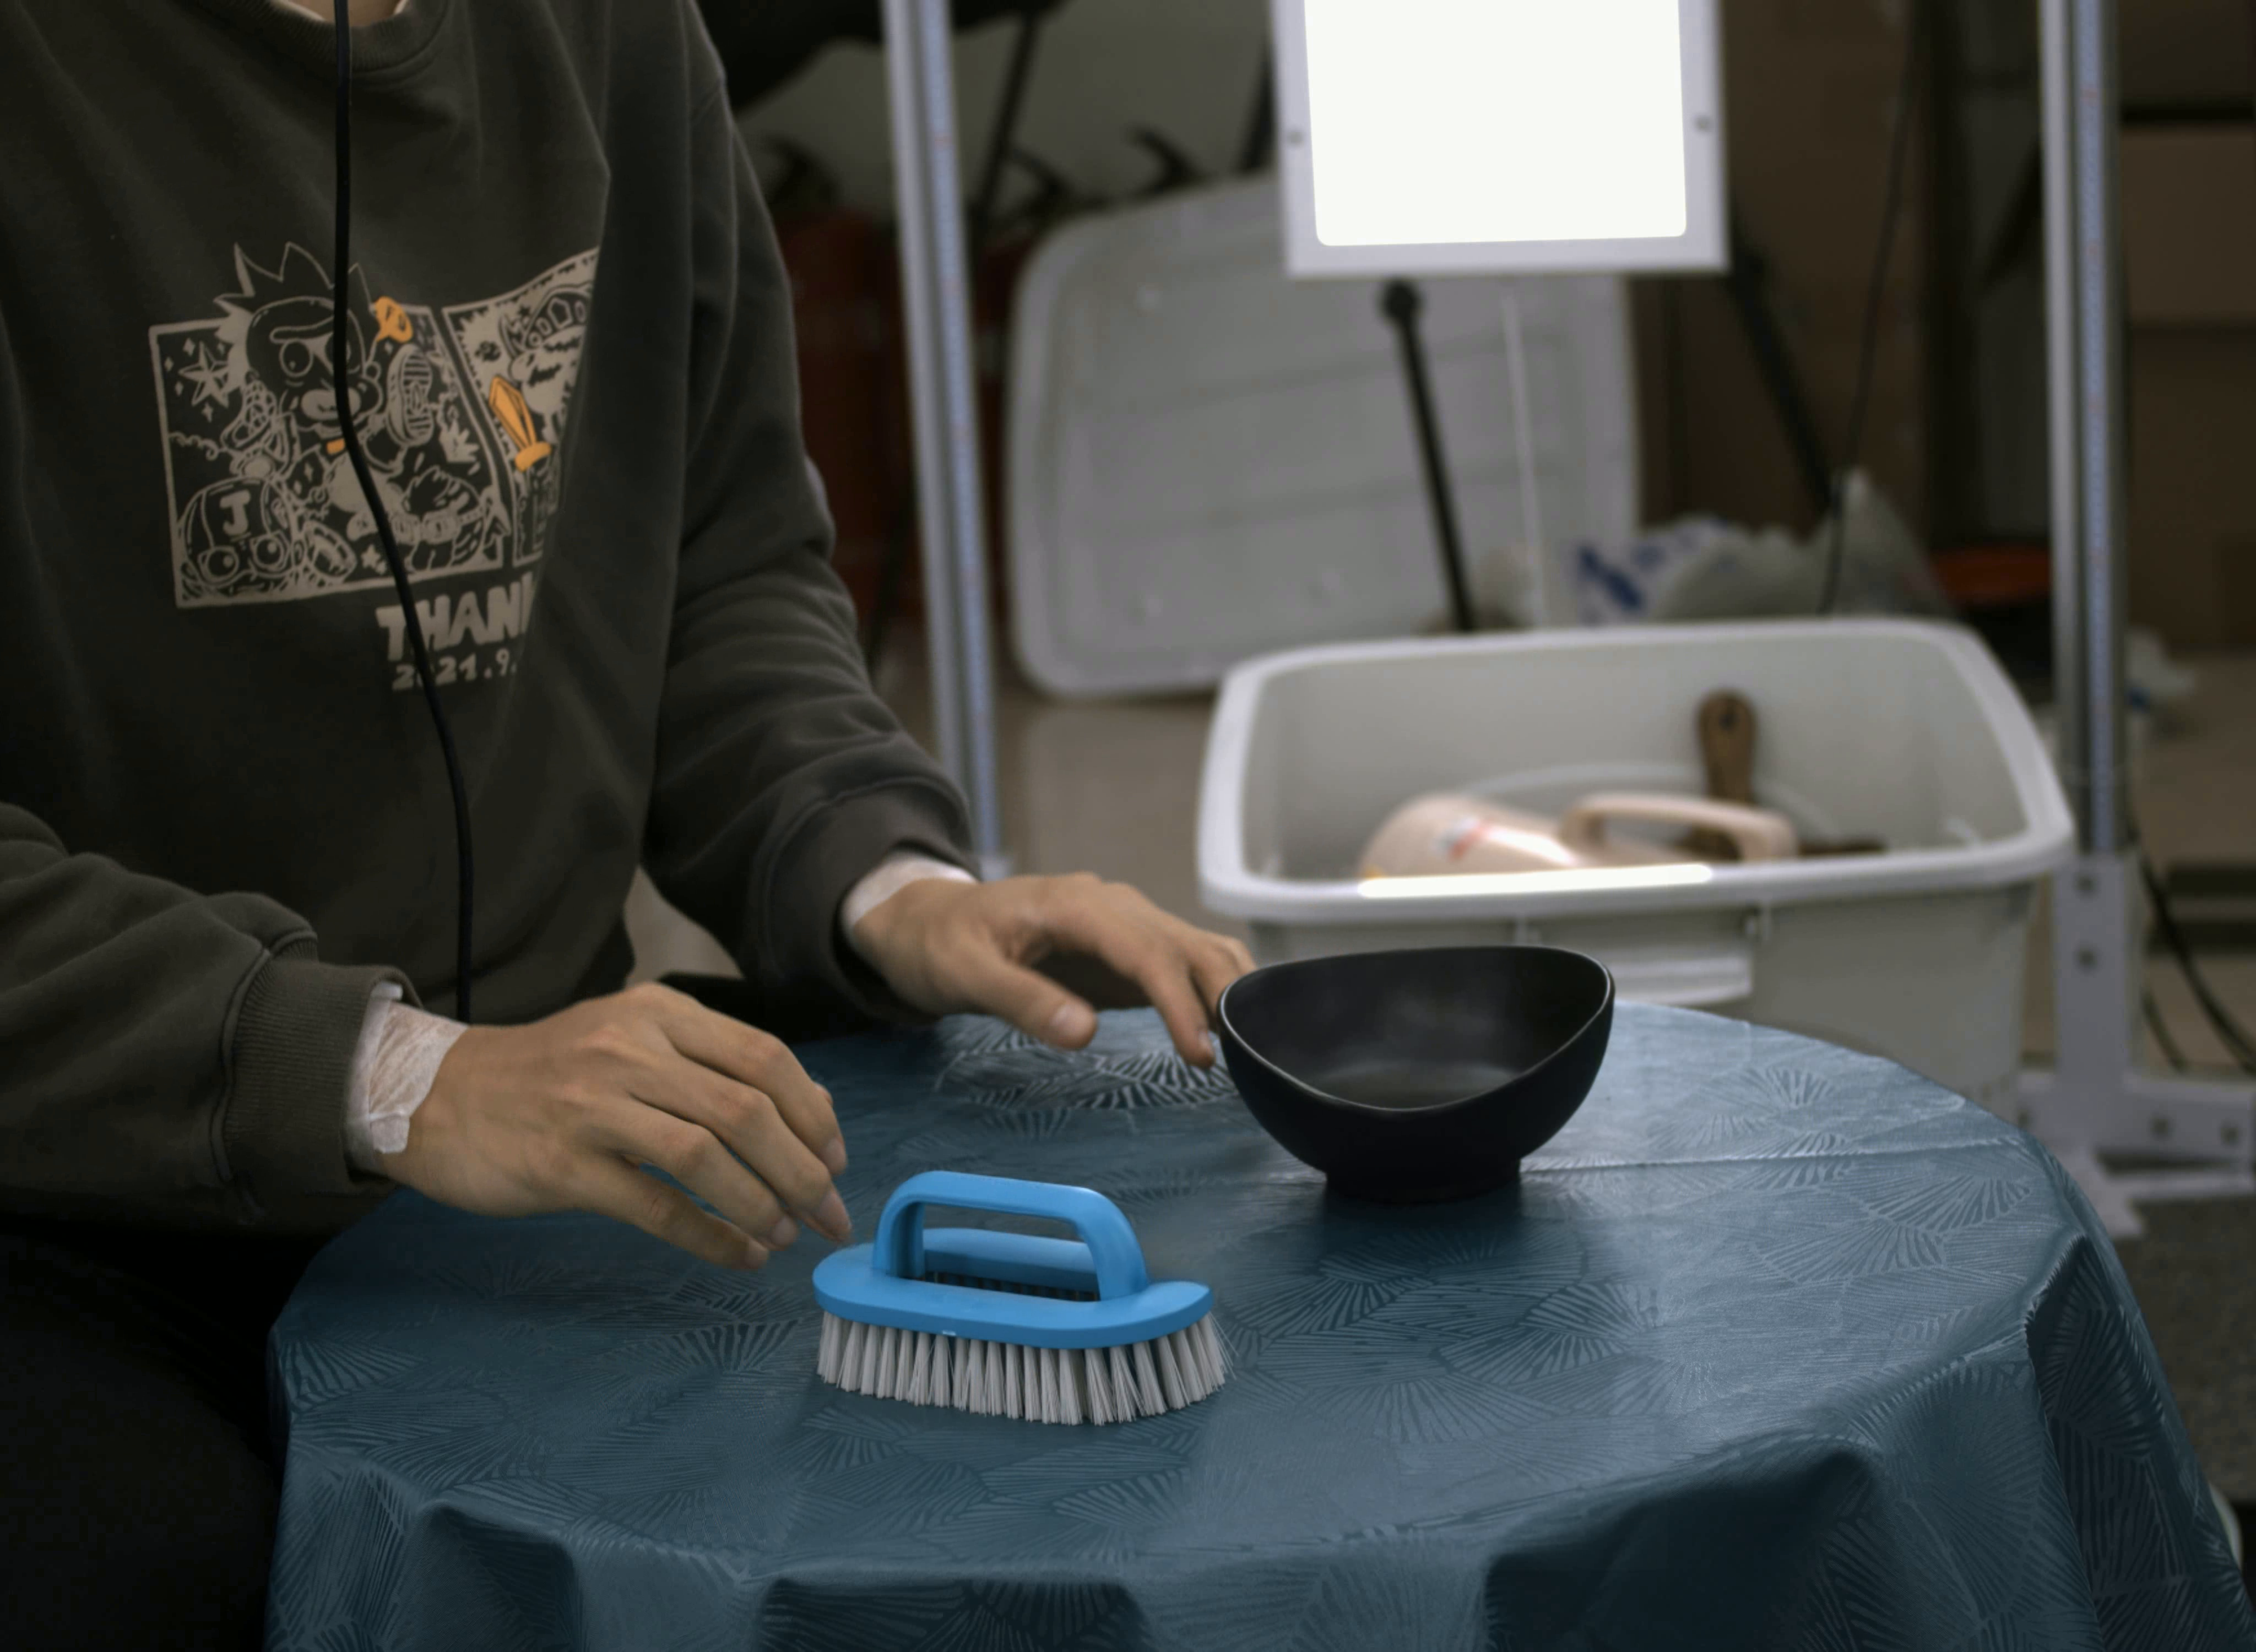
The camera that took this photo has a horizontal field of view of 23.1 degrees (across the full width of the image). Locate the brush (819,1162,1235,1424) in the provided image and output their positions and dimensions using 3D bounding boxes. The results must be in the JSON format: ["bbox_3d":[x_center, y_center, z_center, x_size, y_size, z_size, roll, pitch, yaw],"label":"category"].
[{"bbox_3d":[-0.036,0.139,1.723,0.145,0.064,0.082,4,21,36],"label":"brush"}]

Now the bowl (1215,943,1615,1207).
[{"bbox_3d":[0.101,0.089,1.881,0.137,0.067,0.169,-5,15,4],"label":"bowl"}]
